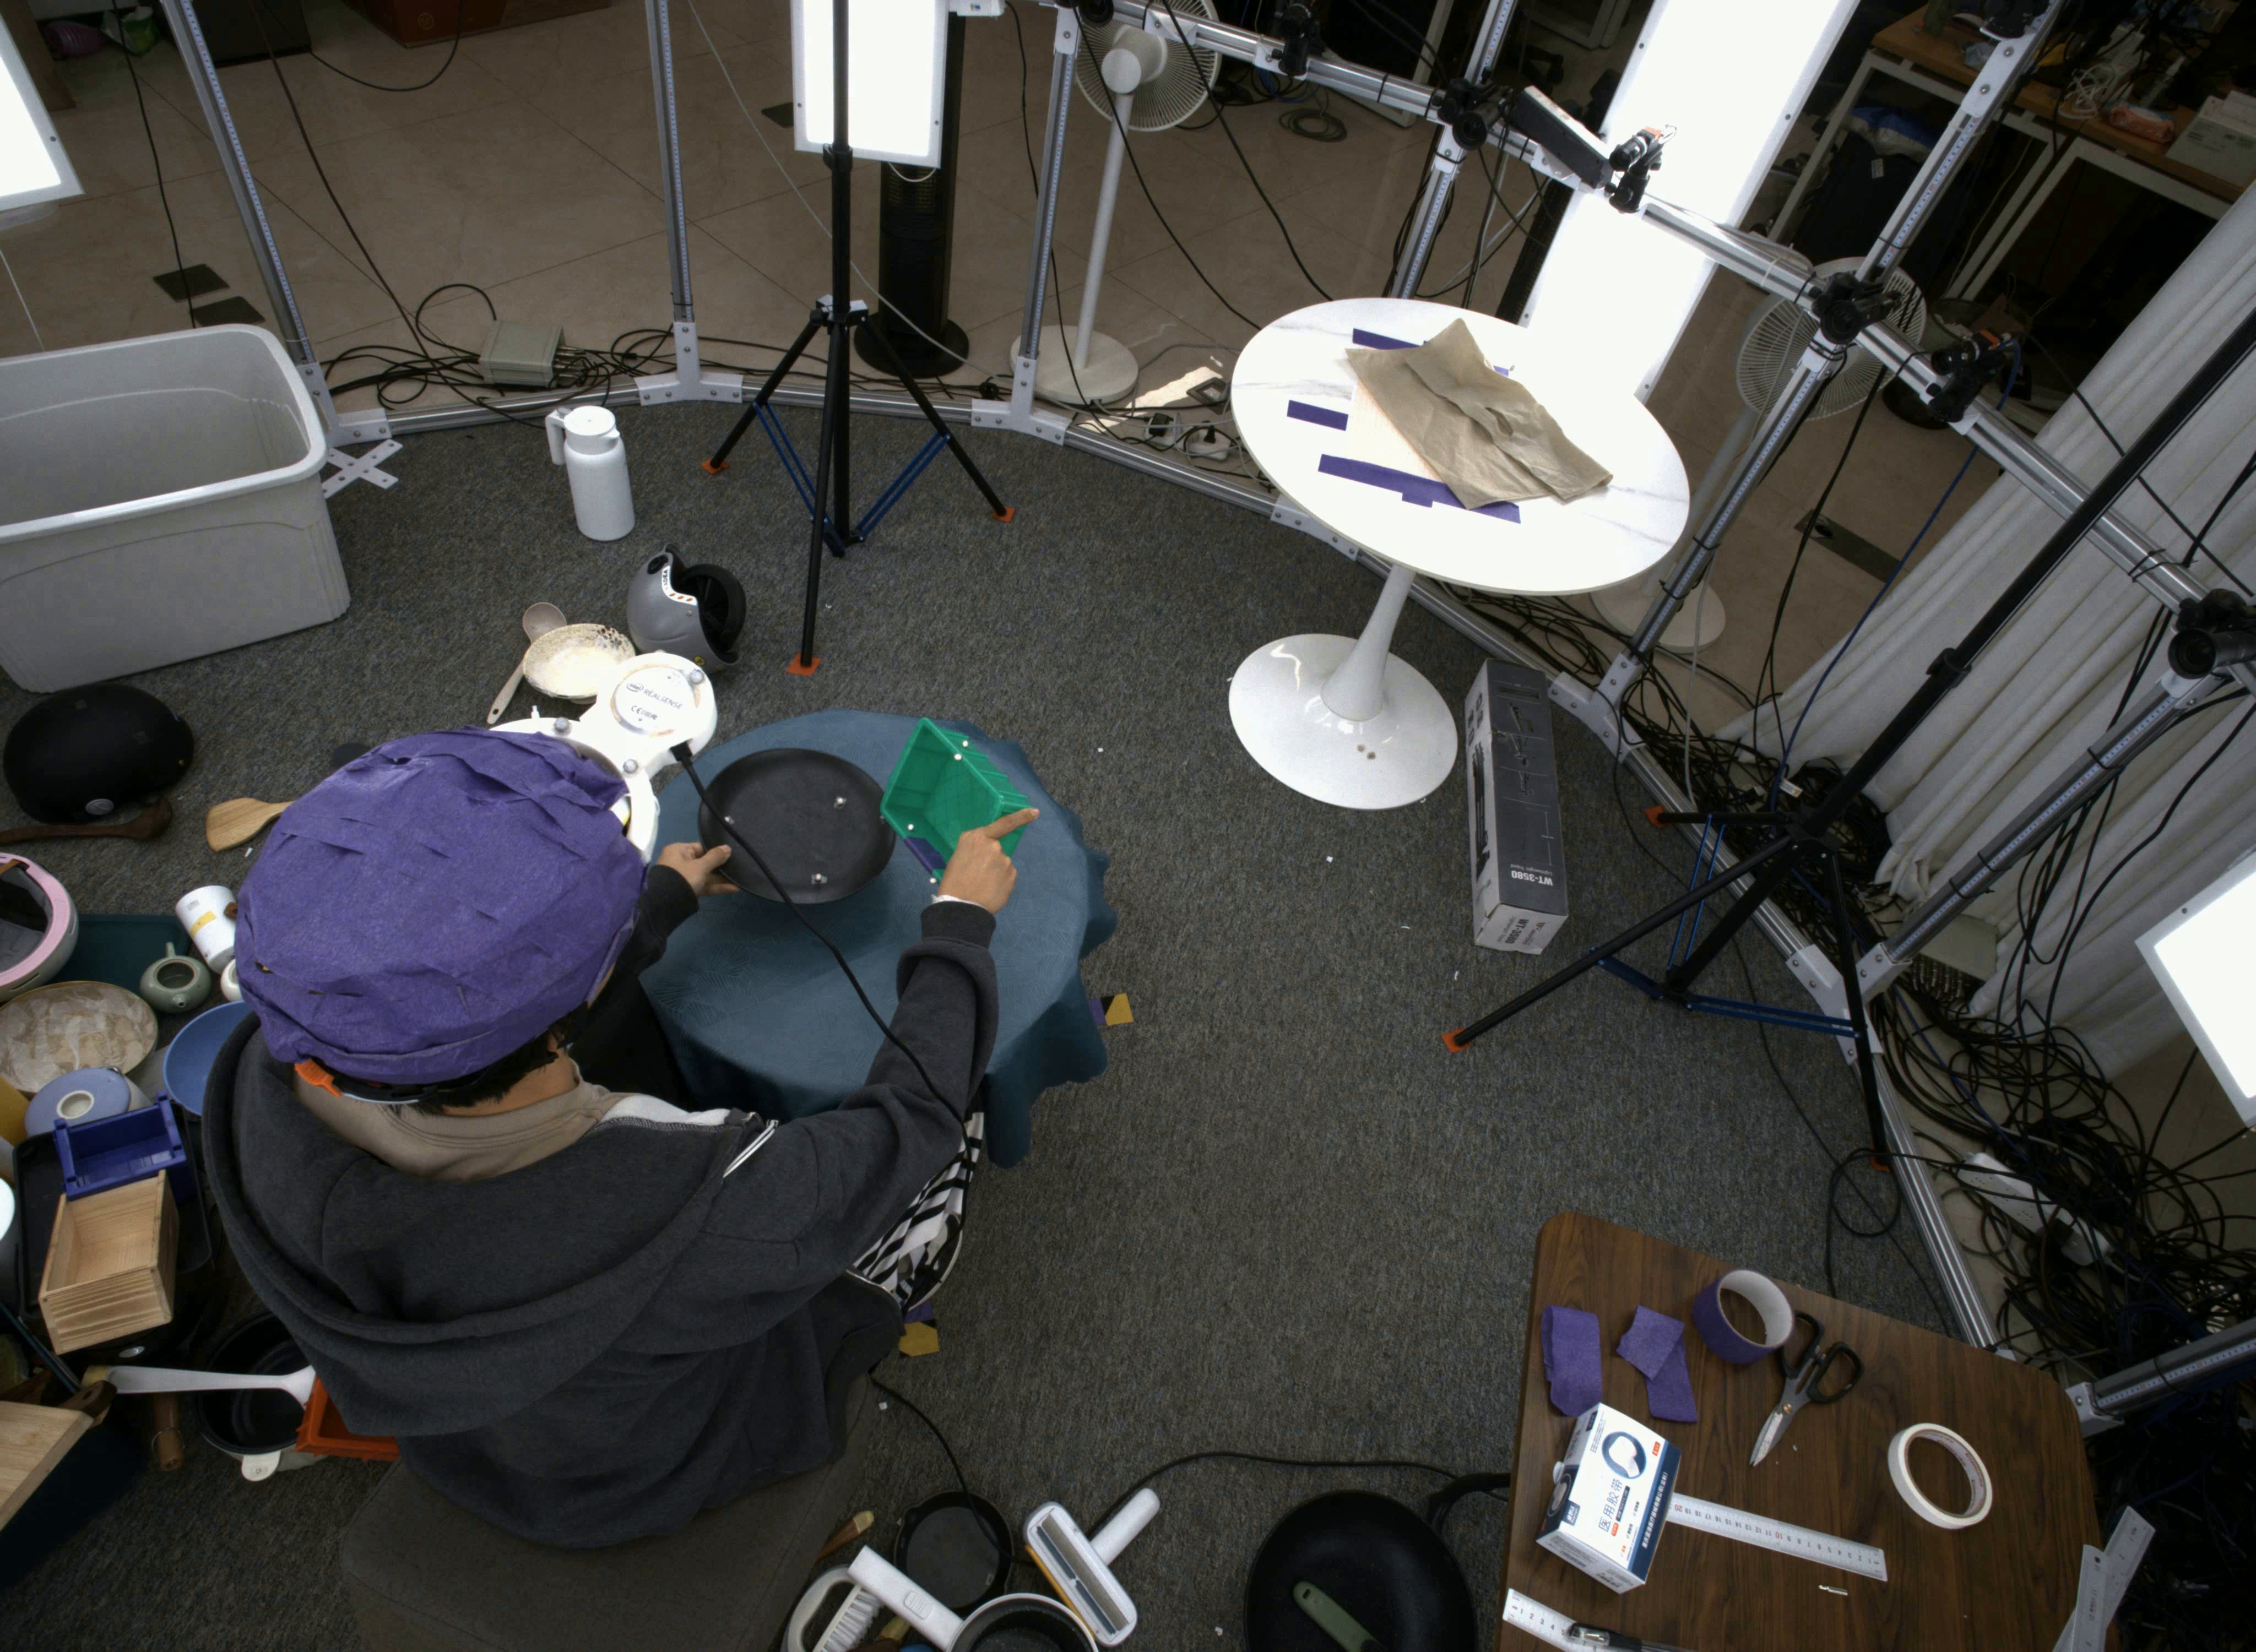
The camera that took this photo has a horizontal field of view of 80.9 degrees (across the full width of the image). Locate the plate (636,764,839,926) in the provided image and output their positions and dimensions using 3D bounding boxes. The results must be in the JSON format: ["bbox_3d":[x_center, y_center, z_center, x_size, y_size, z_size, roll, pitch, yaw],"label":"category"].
[{"bbox_3d":[-0.477,0.023,1.584,0.245,0.024,0.240,13,51,-14],"label":"plate"}]

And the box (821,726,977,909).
[{"bbox_3d":[-0.265,-0.011,1.503,0.067,0.141,0.203,2,28,-48],"label":"box"}]
